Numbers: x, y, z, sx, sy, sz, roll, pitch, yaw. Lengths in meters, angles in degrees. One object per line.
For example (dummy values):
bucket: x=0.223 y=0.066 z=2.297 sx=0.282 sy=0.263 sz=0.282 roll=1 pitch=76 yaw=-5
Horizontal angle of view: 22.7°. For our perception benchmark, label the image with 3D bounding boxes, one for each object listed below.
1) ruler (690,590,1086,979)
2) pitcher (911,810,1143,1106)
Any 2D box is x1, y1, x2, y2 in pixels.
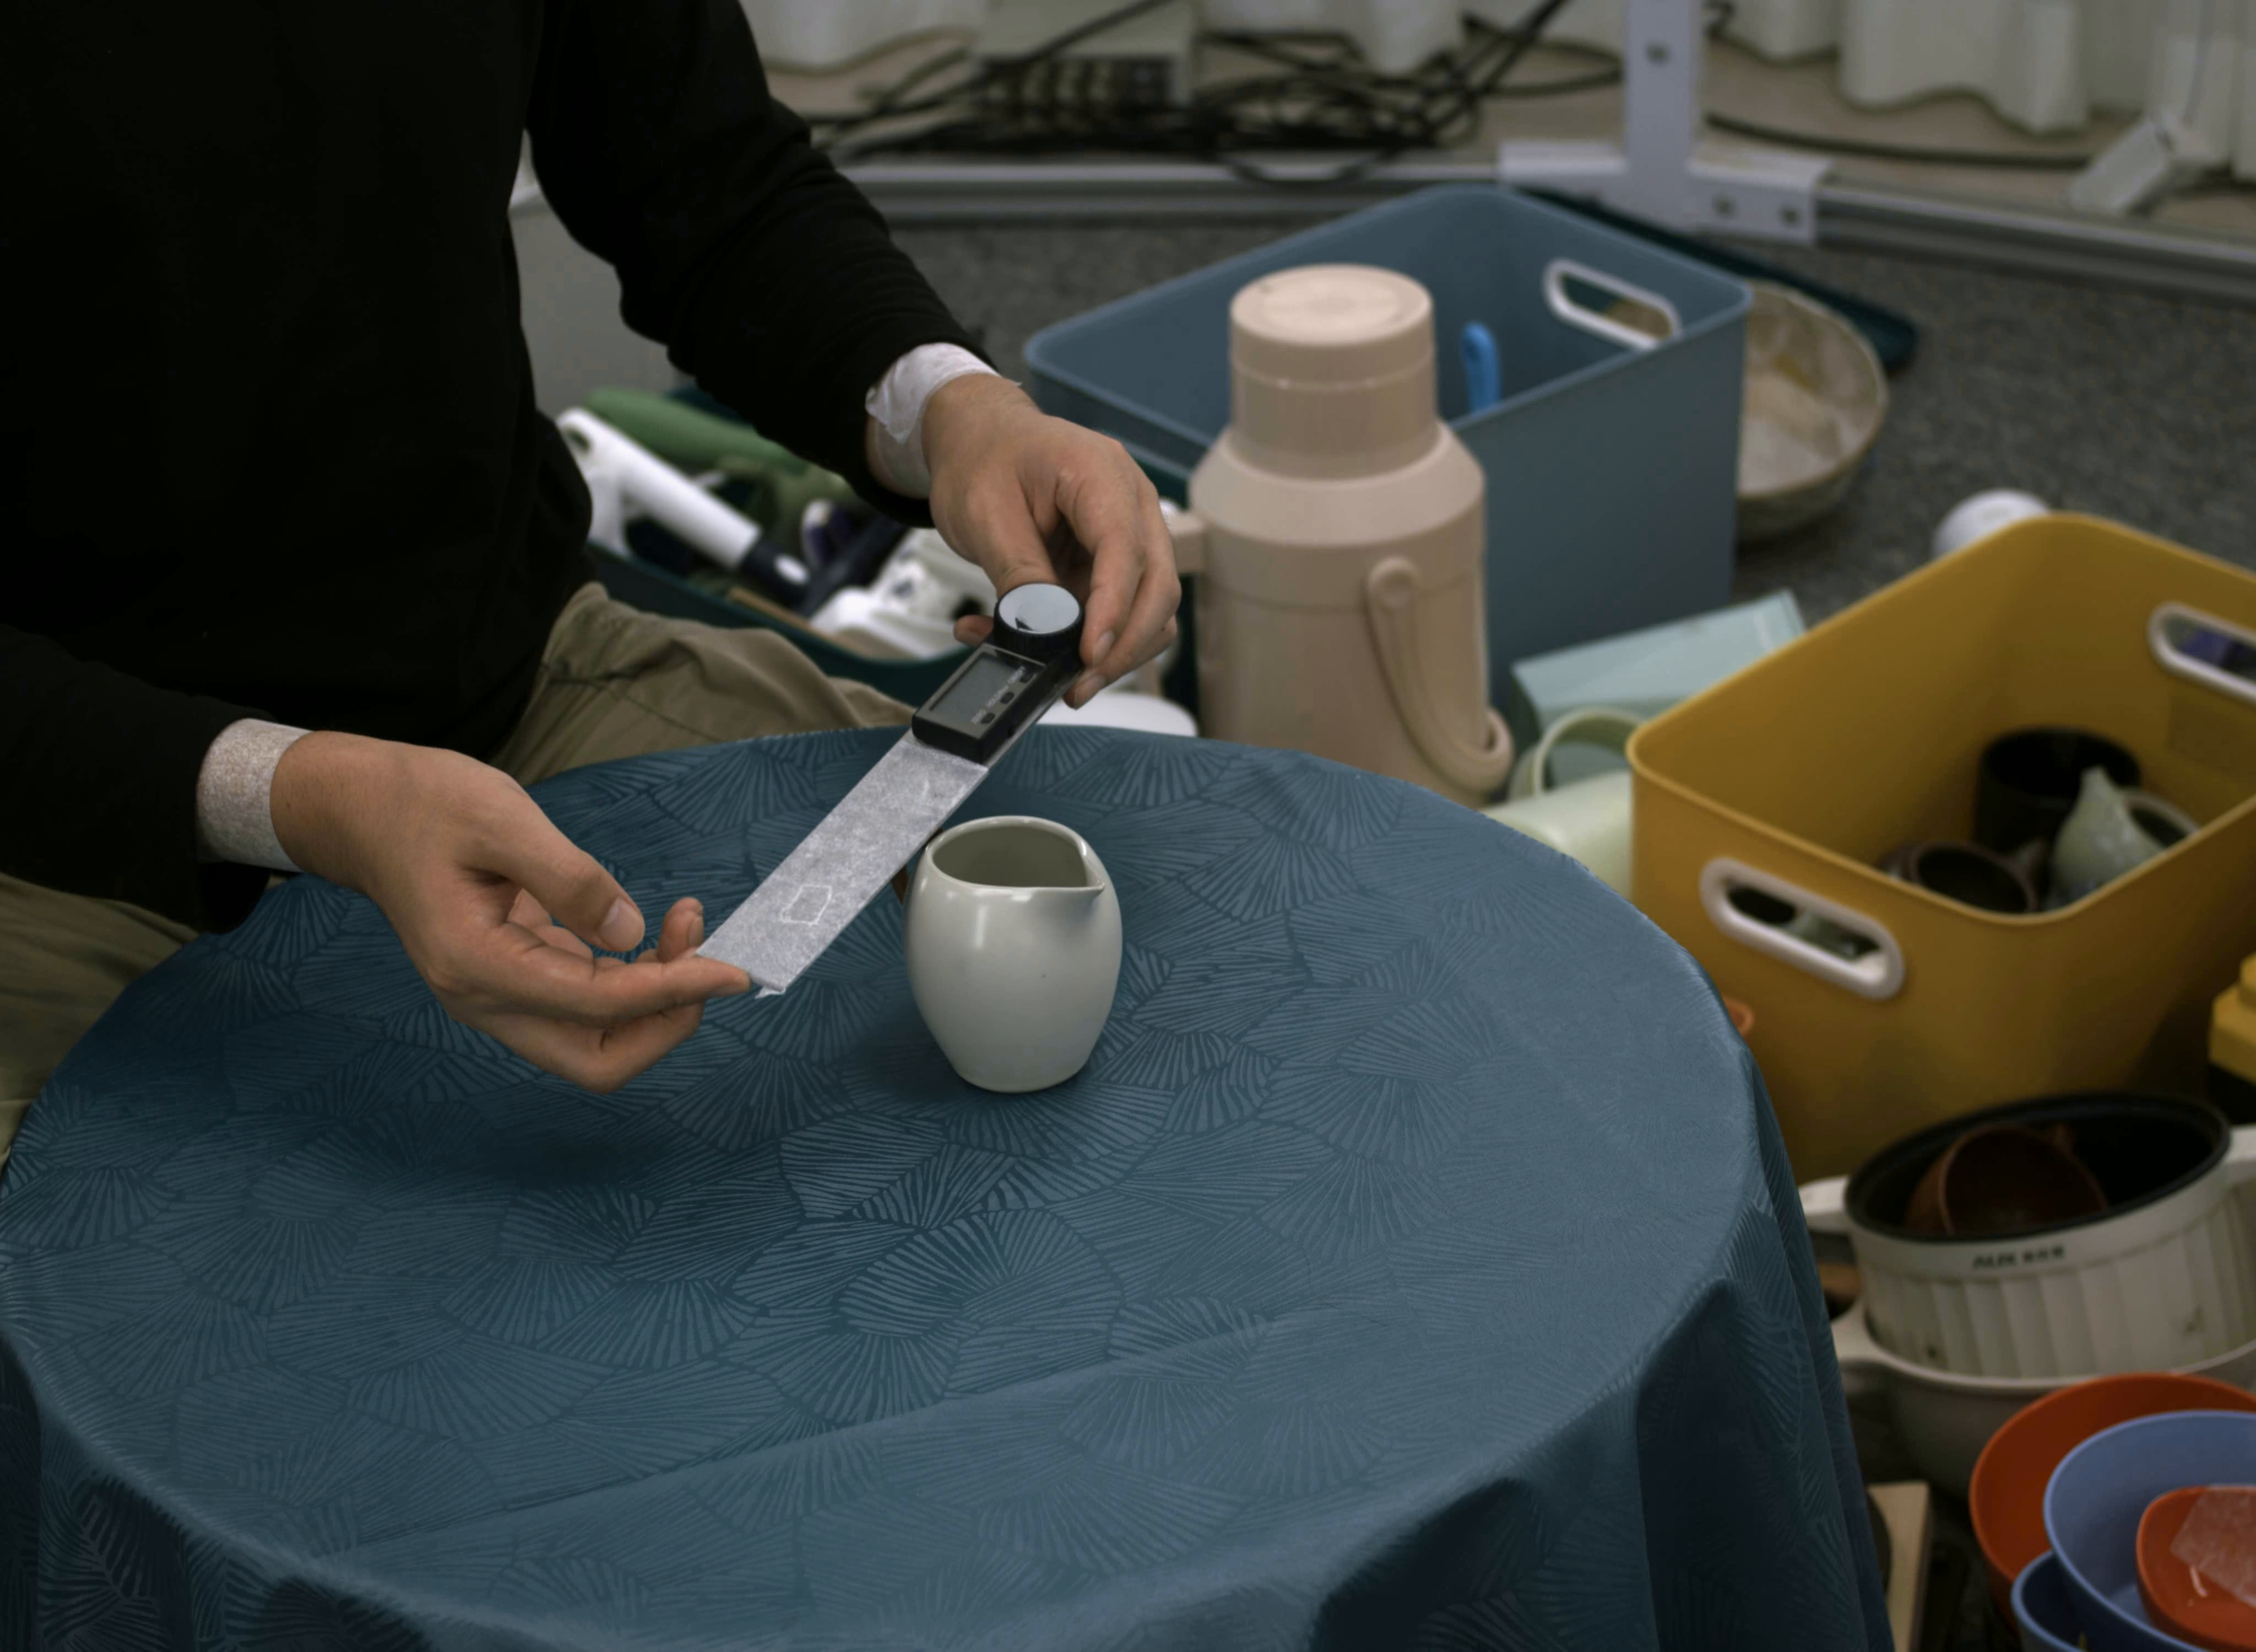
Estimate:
ruler: x=-0.078 y=-0.018 z=1.920 sx=0.038 sy=0.024 sz=0.222 roll=13 pitch=37 yaw=26
pitcher: x=-0.038 y=0.044 z=1.921 sx=0.076 sy=0.087 sz=0.119 roll=-18 pitch=31 yaw=-34
